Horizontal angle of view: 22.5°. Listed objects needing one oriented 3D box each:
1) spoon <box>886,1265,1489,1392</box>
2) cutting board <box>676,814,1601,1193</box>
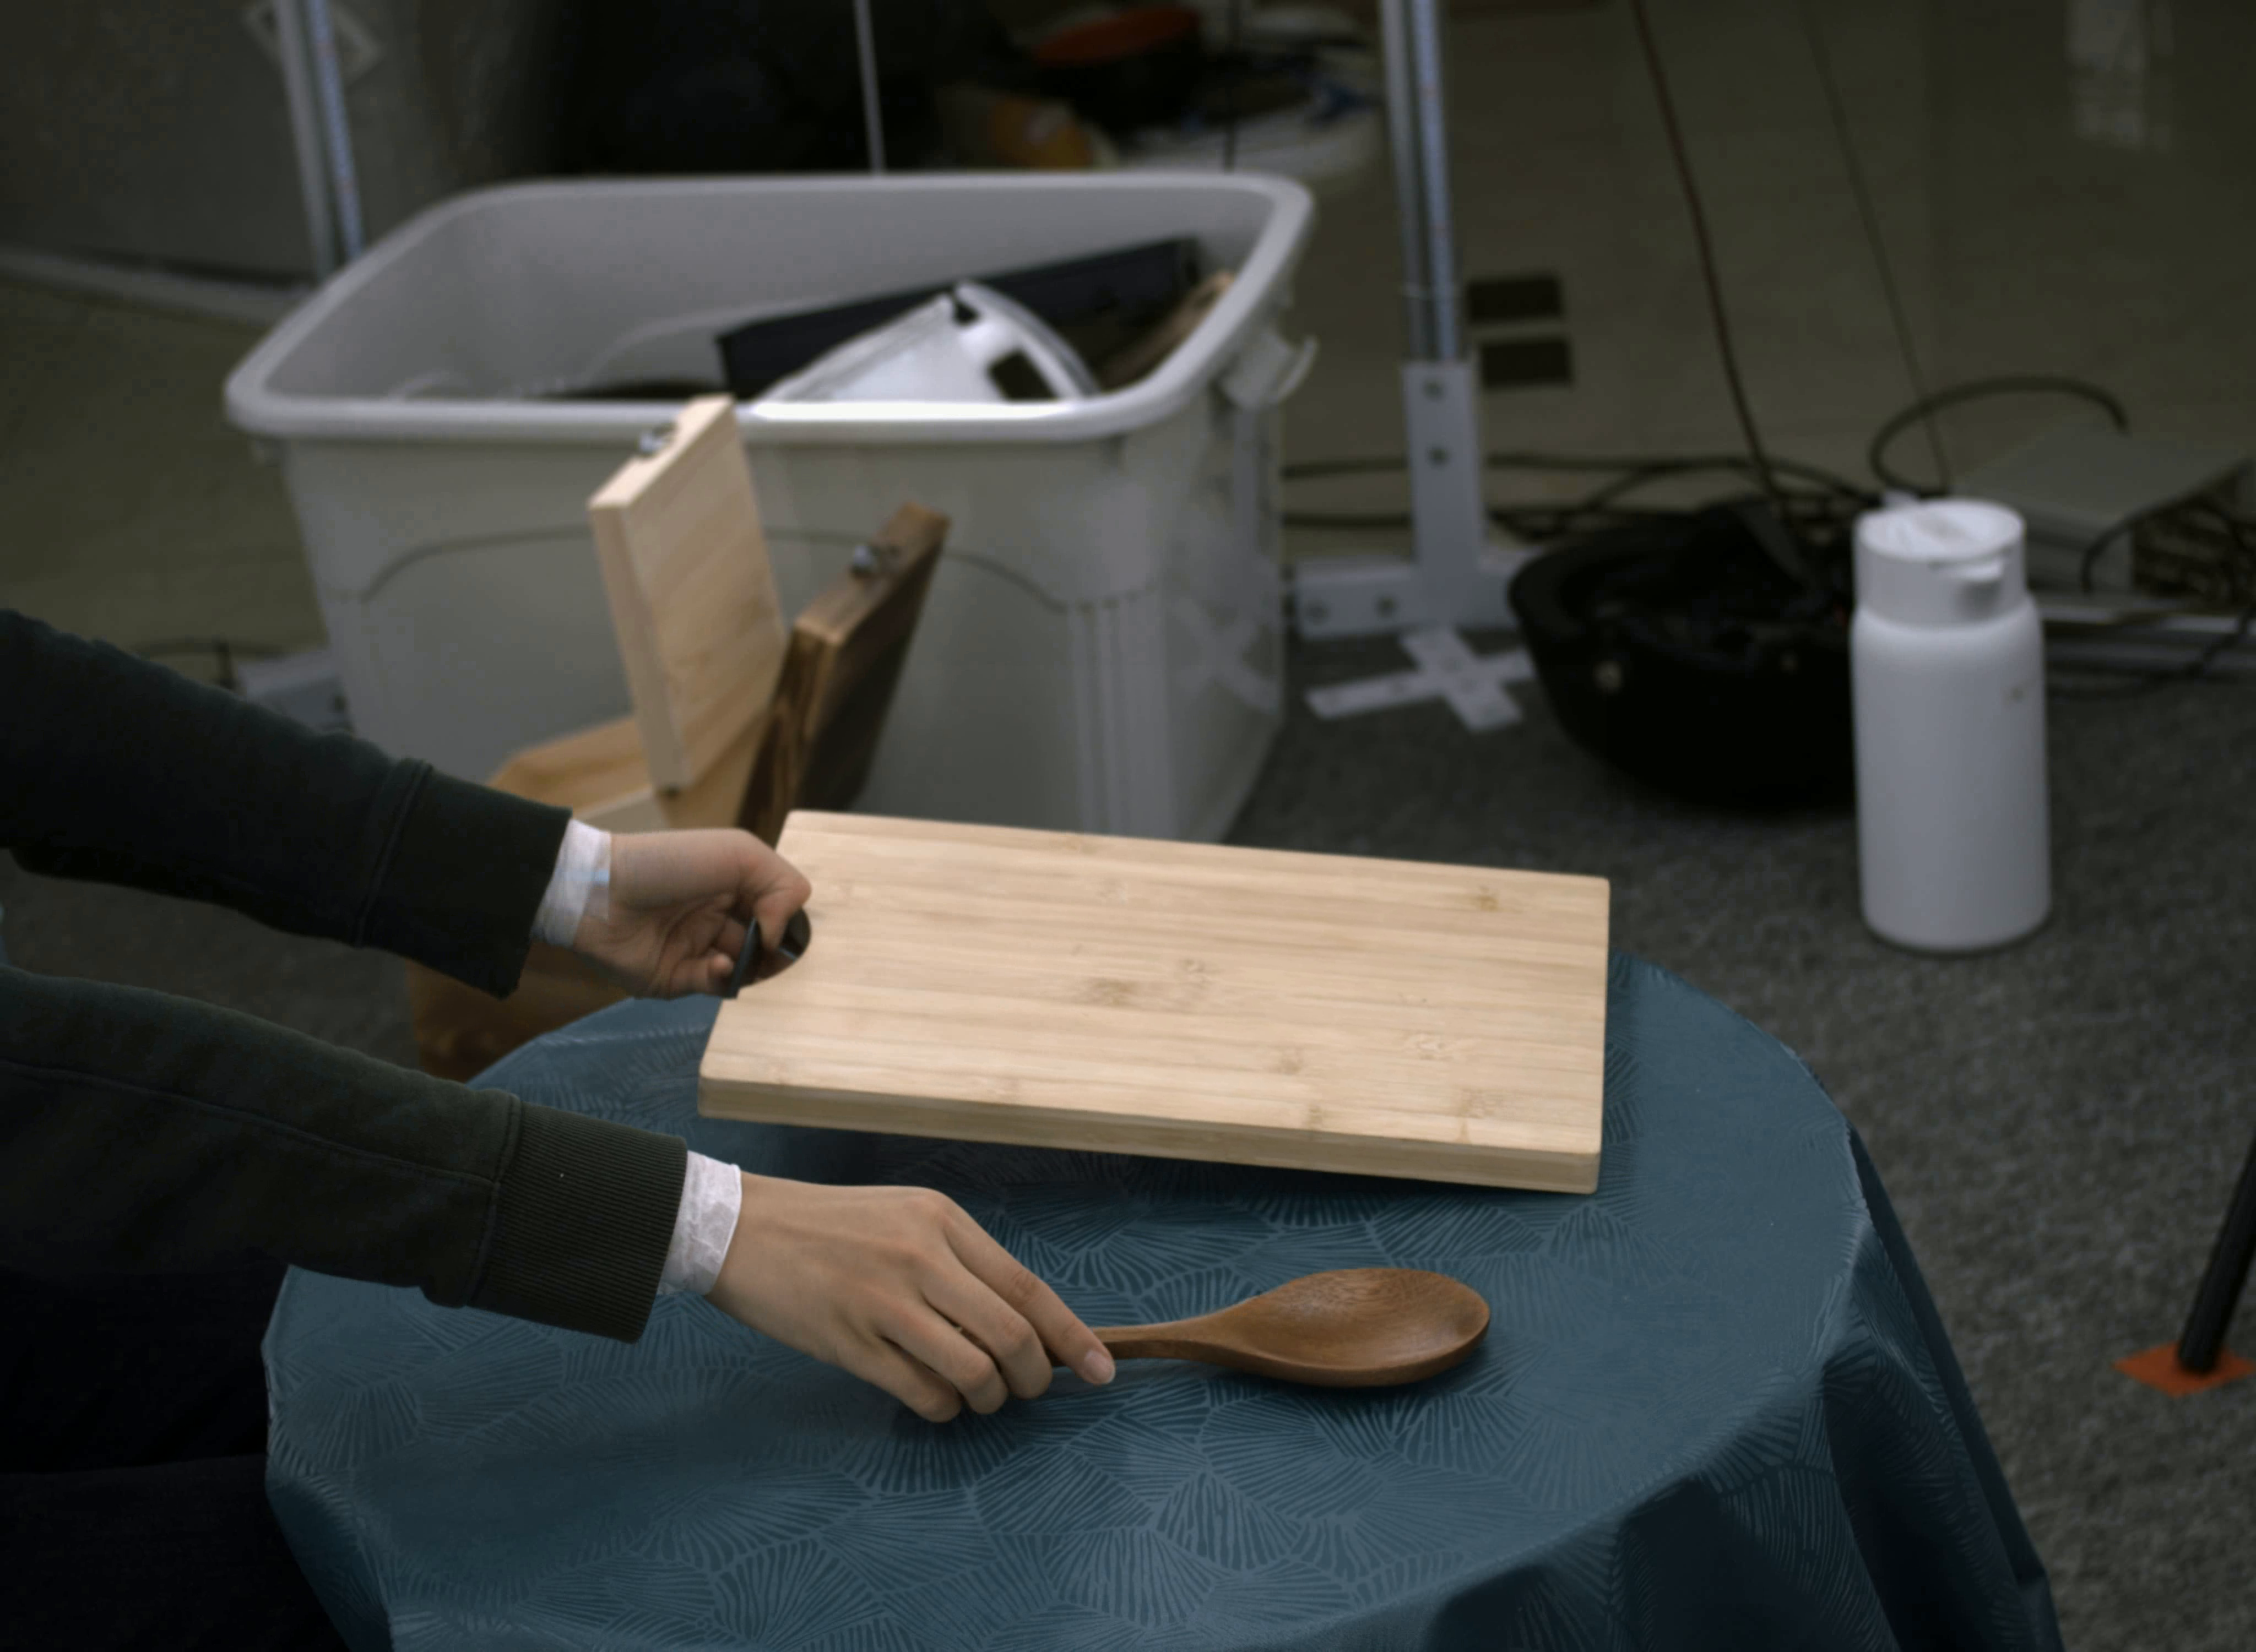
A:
[{"bbox_3d":[0.021,0.184,2.024,0.215,0.017,0.074,-3,27,3],"label":"spoon"},{"bbox_3d":[0.011,0.067,2.225,0.348,0.024,0.247,4,25,3],"label":"cutting board"}]
